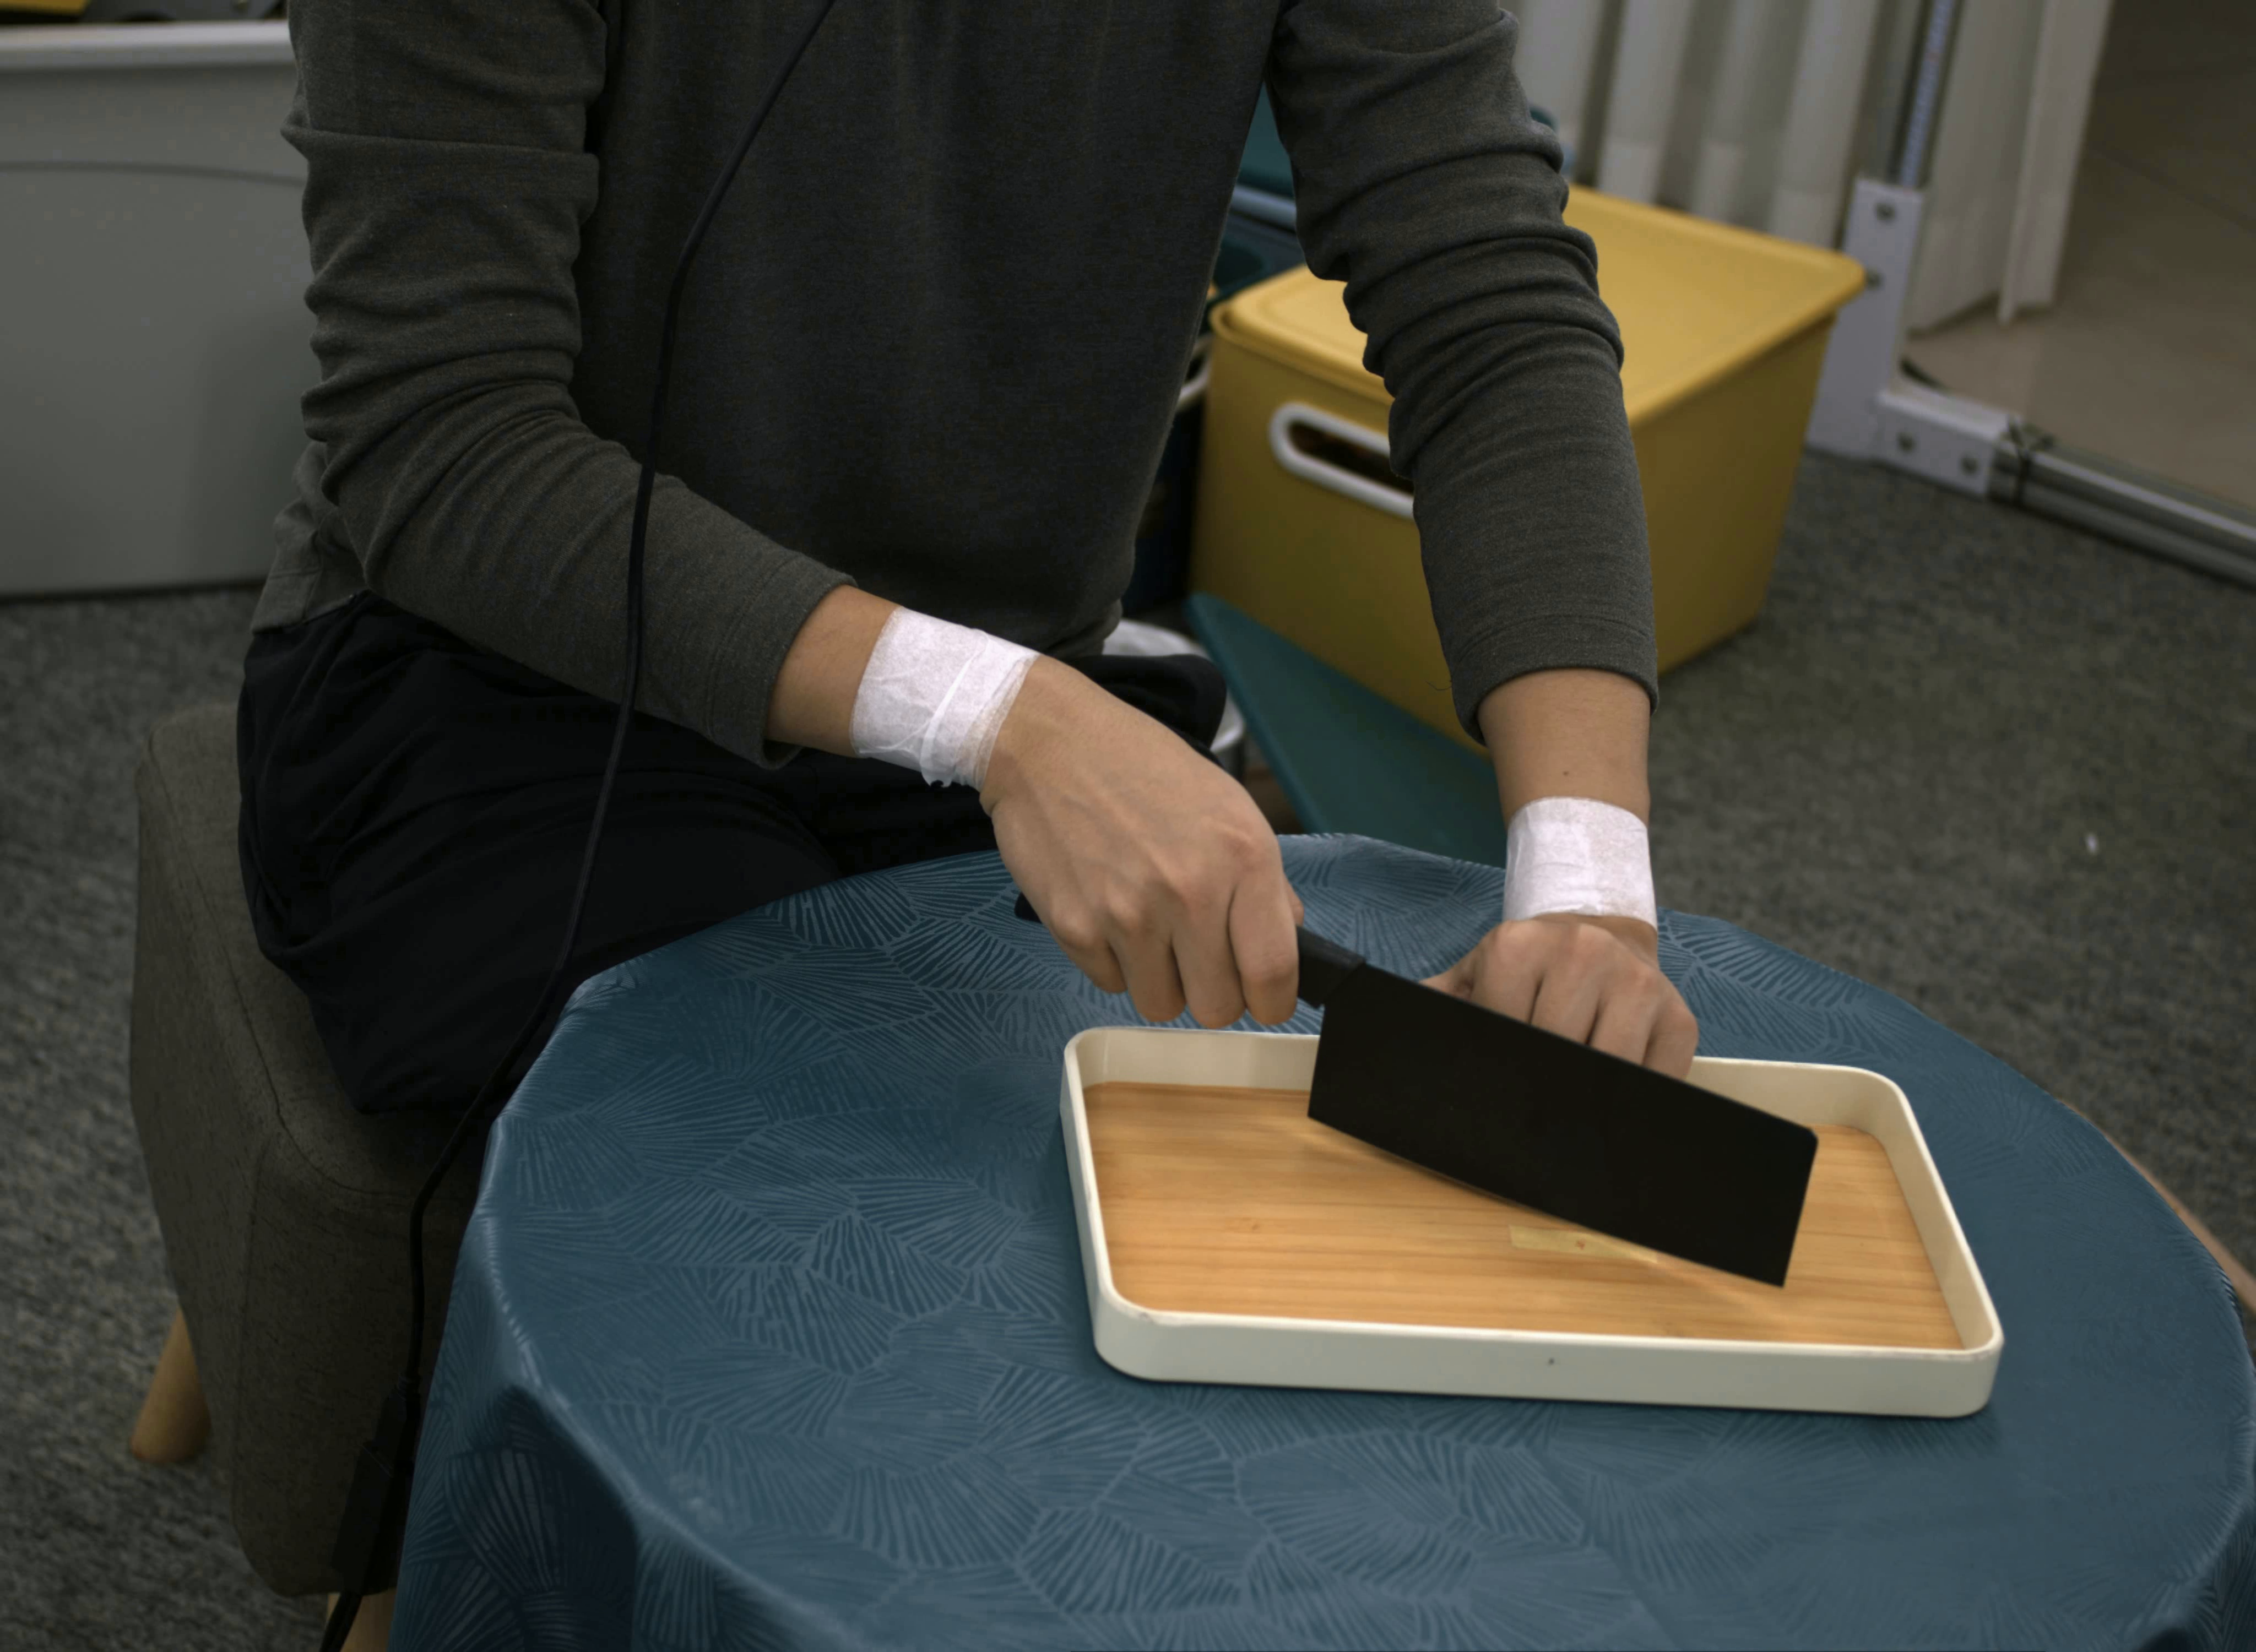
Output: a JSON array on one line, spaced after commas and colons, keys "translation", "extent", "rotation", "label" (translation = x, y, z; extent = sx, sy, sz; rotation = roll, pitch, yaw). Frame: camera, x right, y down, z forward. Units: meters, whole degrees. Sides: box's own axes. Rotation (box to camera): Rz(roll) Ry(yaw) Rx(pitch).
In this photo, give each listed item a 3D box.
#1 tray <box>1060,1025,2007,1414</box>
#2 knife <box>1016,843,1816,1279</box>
[{"translation": [0.131, 0.131, 1.791], "extent": [0.299, 0.027, 0.193], "rotation": [3, 27, -6], "label": "tray"}, {"translation": [0.093, 0.075, 1.809], "extent": [0.303, 0.081, 0.021], "rotation": [24, 27, 22], "label": "knife"}]
